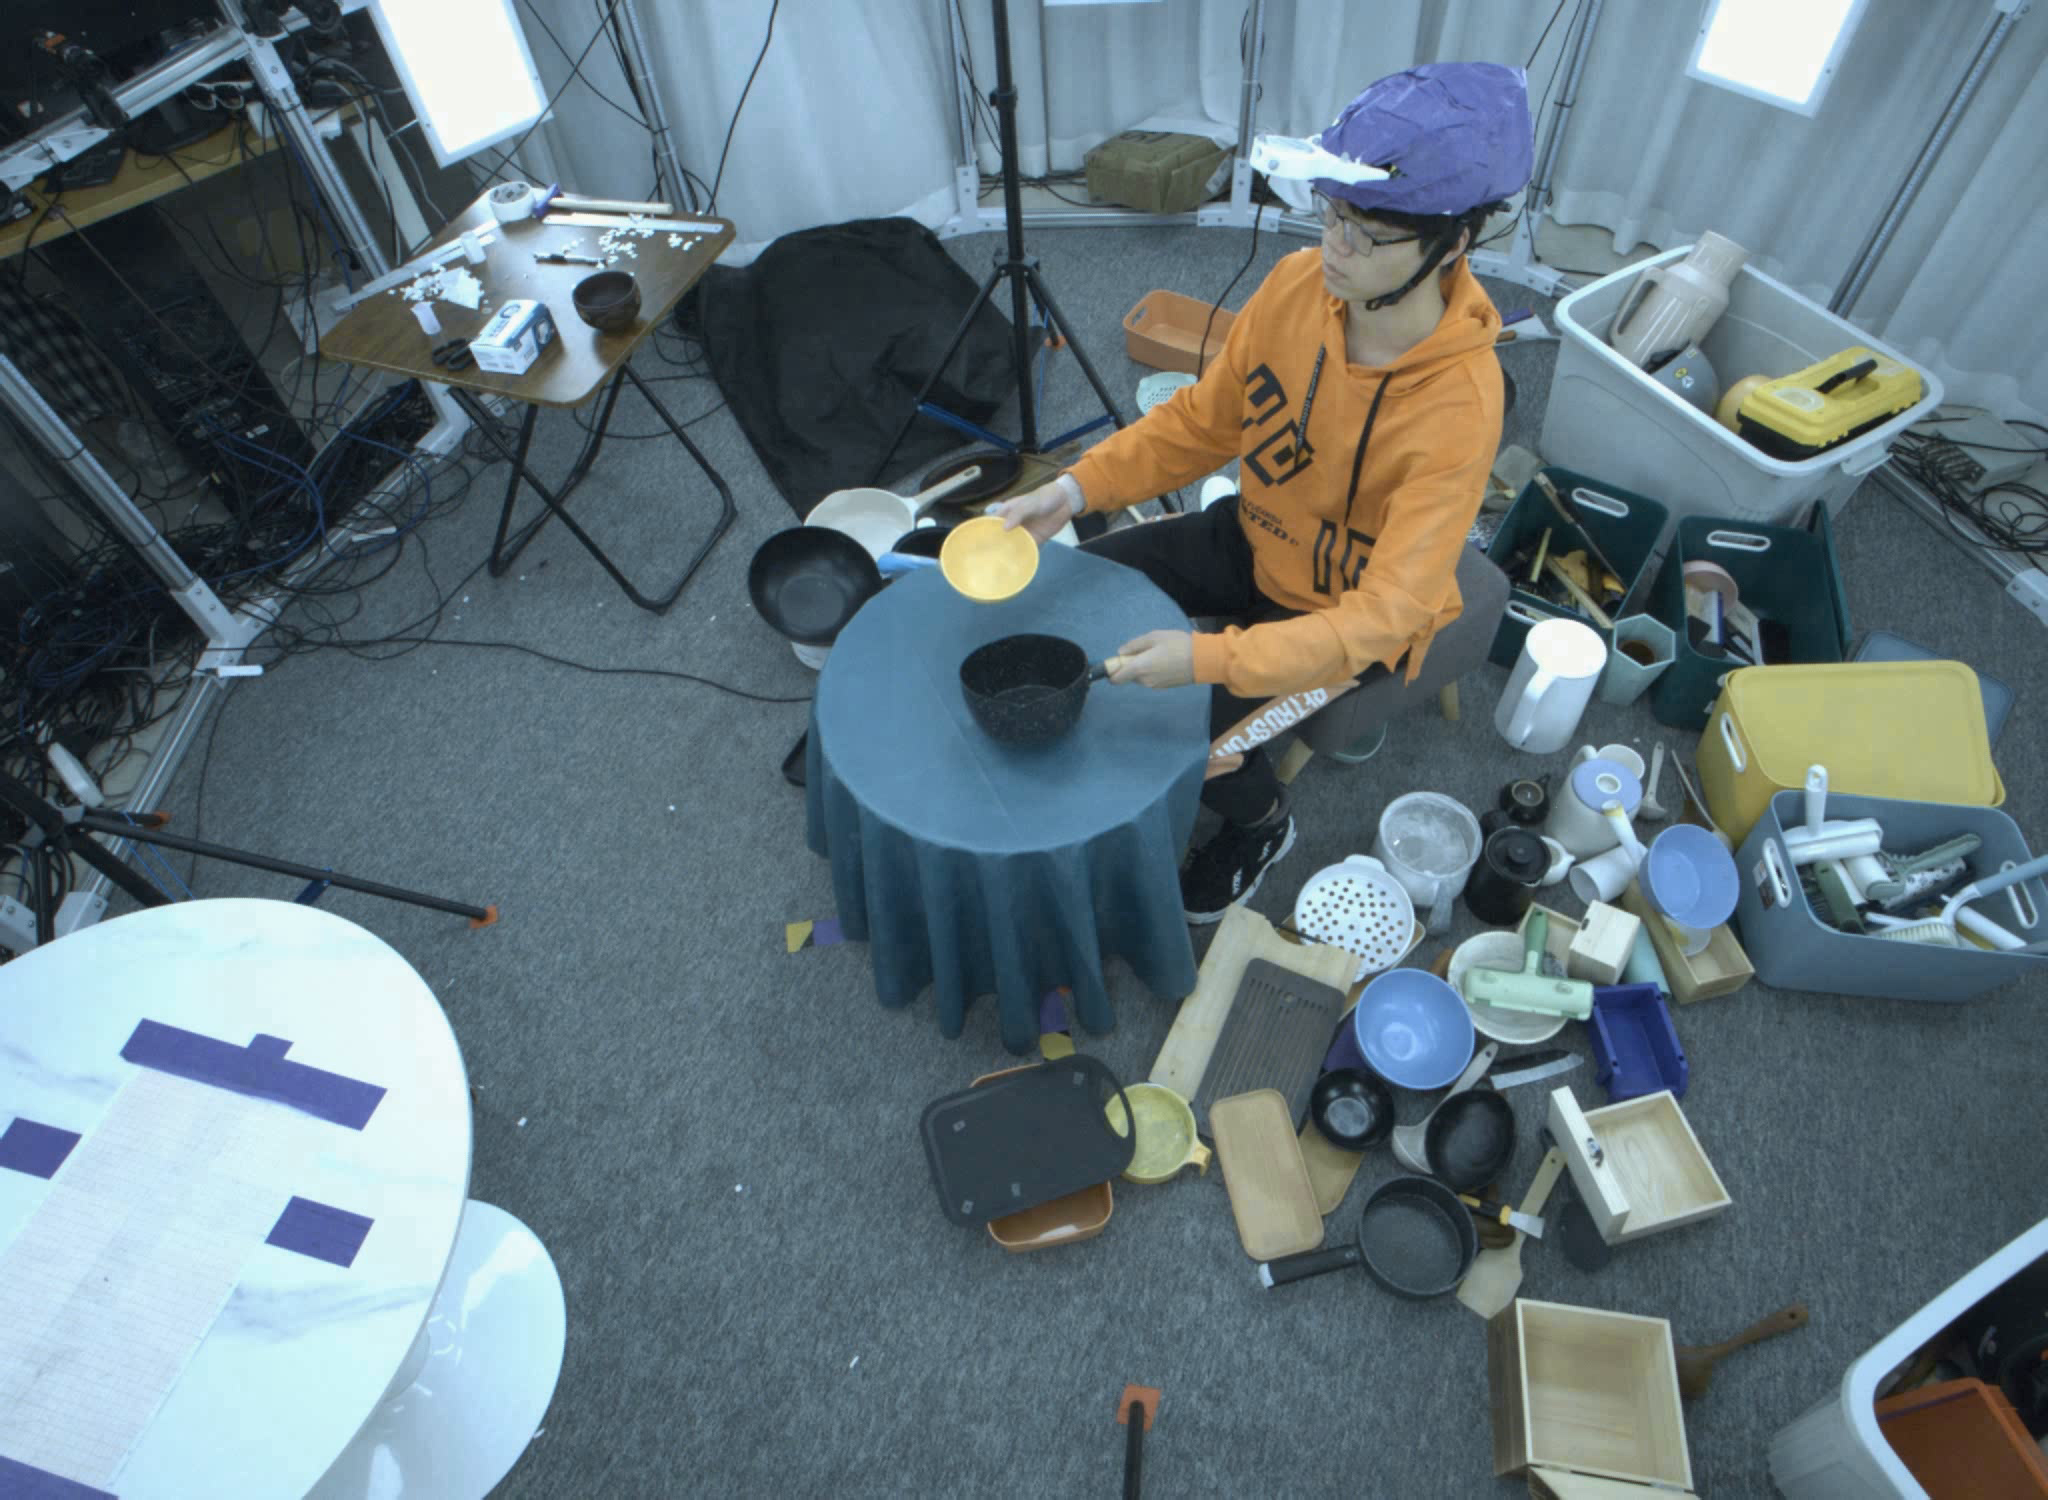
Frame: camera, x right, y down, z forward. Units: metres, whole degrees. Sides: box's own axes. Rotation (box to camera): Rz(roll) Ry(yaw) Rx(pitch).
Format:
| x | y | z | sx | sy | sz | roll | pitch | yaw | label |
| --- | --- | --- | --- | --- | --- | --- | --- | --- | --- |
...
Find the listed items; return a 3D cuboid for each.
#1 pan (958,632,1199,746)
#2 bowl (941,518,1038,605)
| x | y | z | sx | sy | sz | roll | pitch | yaw | label |
| --- | --- | --- | --- | --- | --- | --- | --- | --- | --- |
| 0.080 | -0.099 | 1.758 | 0.342 | 0.109 | 0.205 | -6 | 35 | 2 | pan |
| -0.051 | -0.270 | 1.824 | 0.145 | 0.060 | 0.144 | 1 | 66 | -2 | bowl |
